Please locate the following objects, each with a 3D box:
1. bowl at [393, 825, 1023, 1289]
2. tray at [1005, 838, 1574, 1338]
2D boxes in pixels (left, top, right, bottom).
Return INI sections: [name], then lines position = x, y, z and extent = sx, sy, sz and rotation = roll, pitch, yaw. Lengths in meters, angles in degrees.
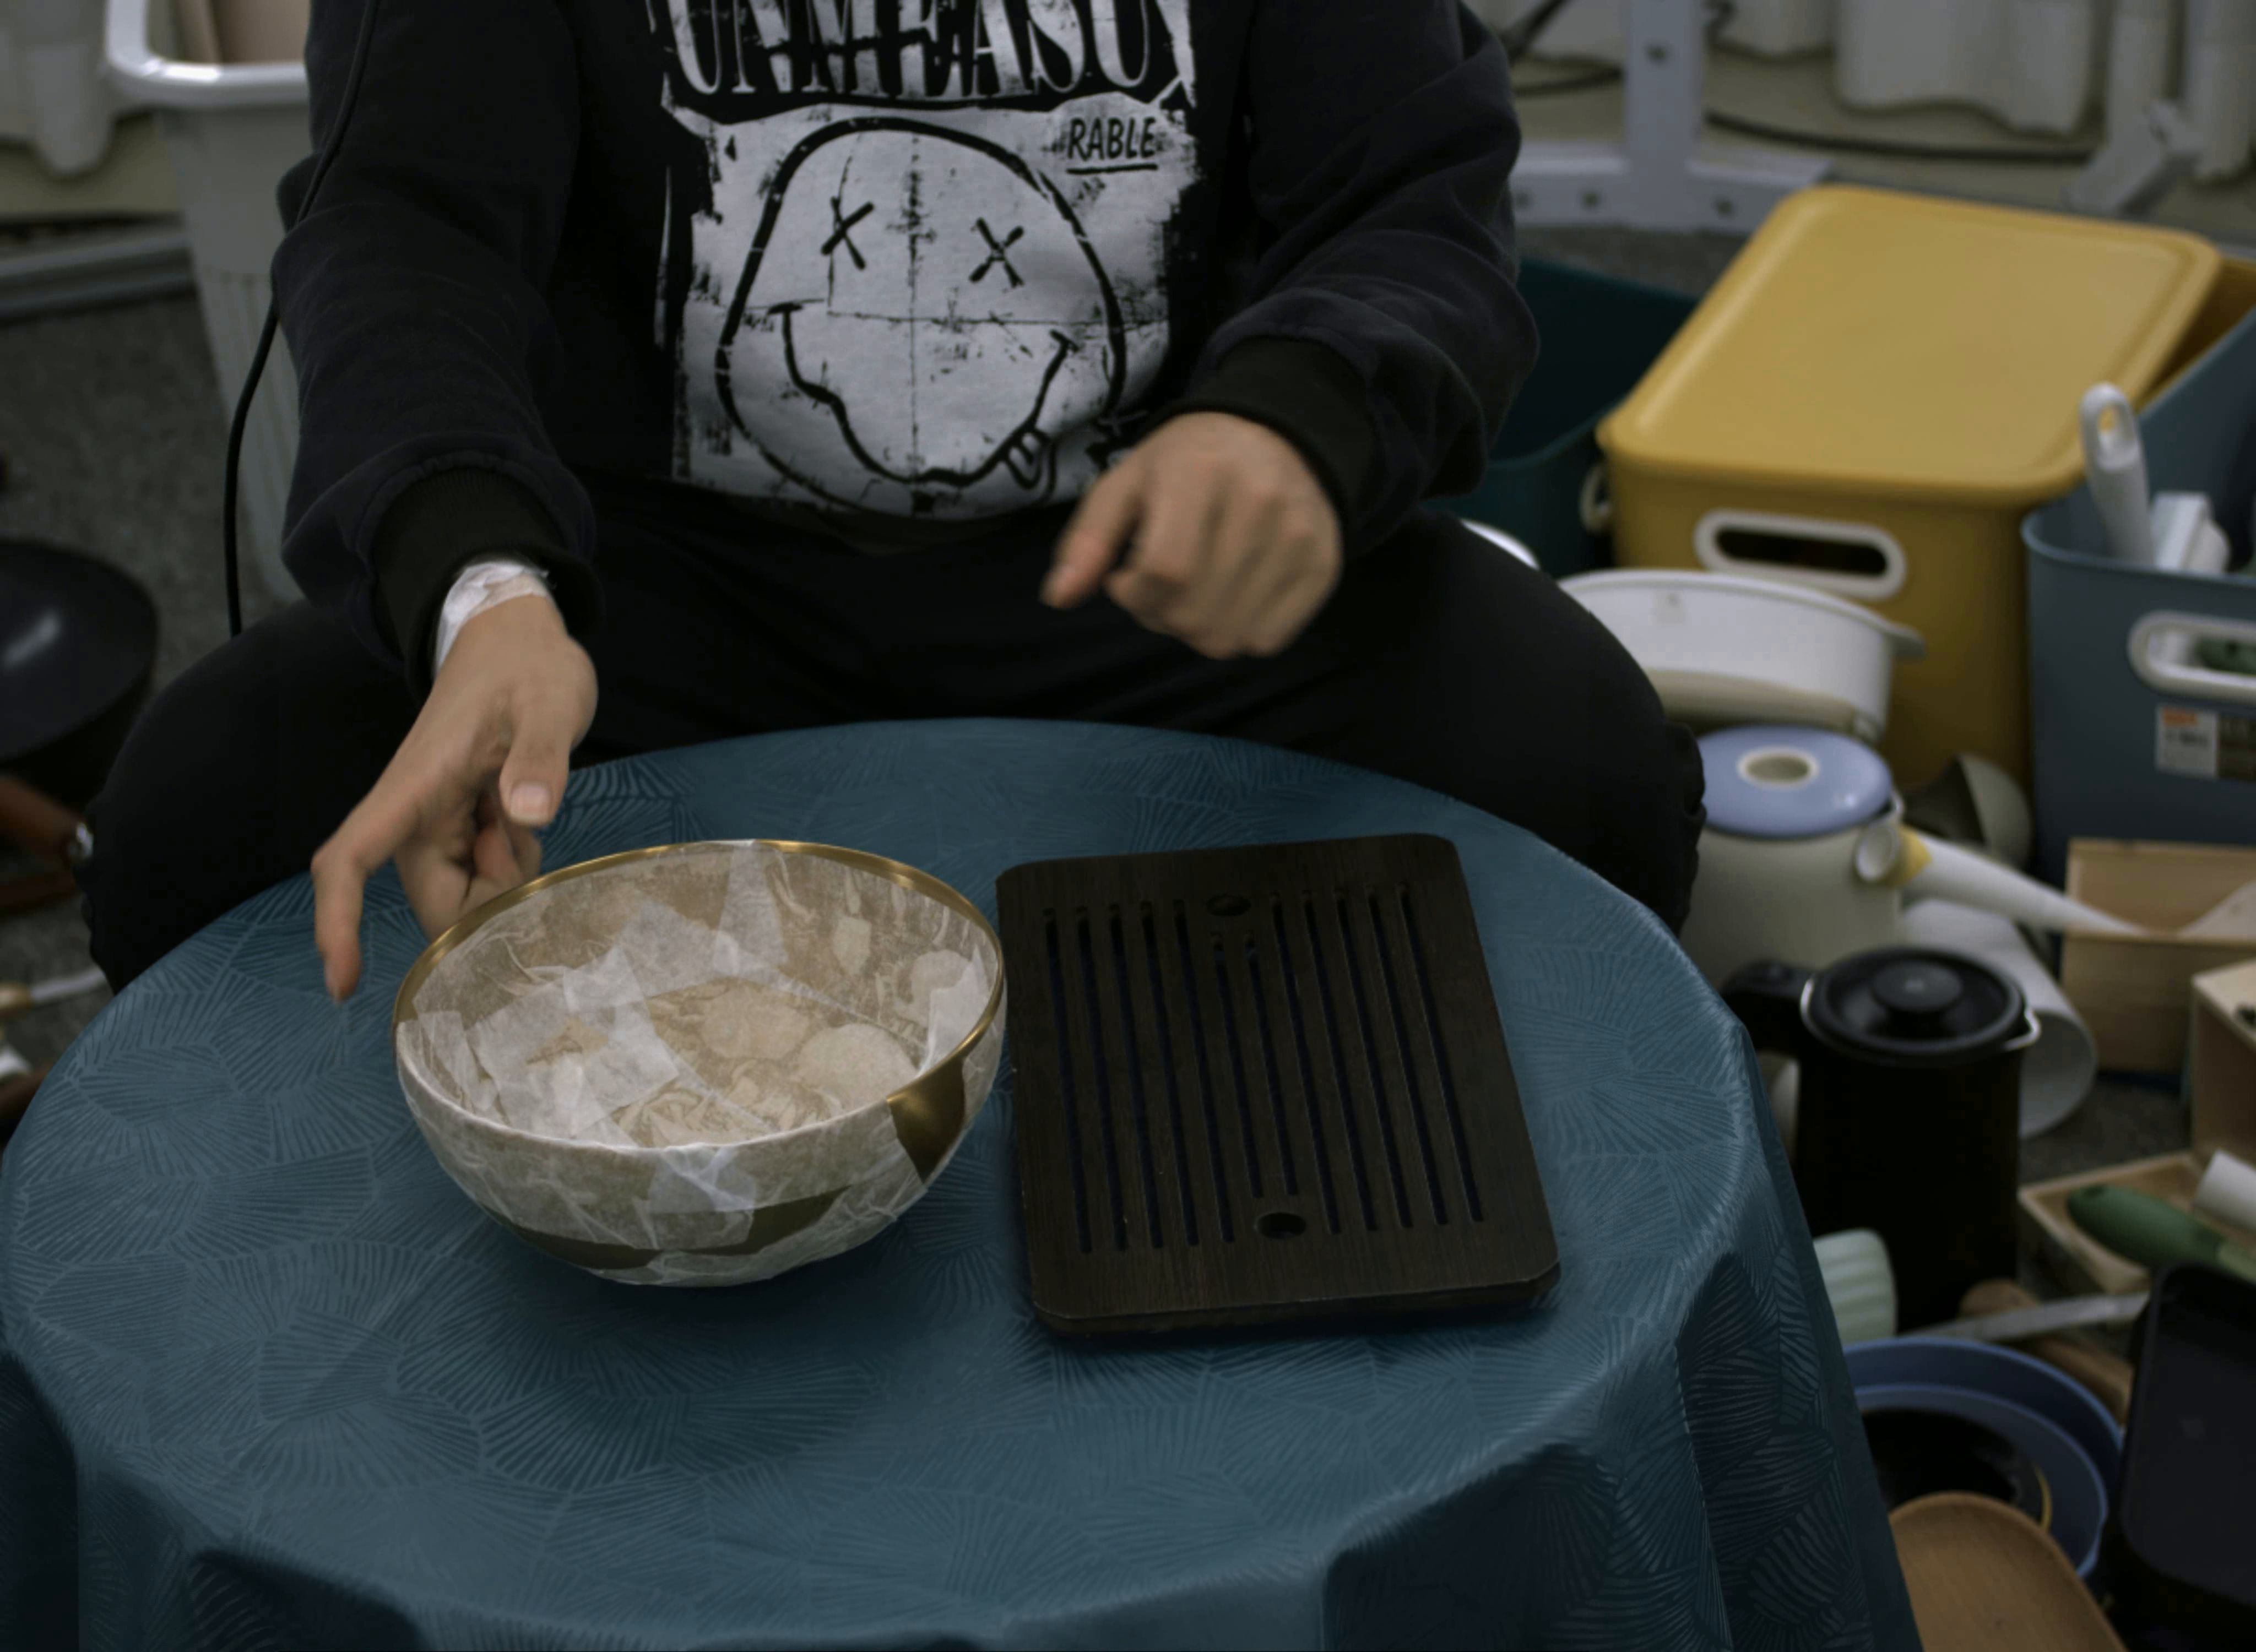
[bowl]
position = -0.132, 0.089, 1.839
extent = 0.213, 0.093, 0.218
rotation = -3, 27, 2
[tray]
position = 0.048, 0.086, 1.906
extent = 0.169, 0.018, 0.310
rotation = -4, 27, -2
